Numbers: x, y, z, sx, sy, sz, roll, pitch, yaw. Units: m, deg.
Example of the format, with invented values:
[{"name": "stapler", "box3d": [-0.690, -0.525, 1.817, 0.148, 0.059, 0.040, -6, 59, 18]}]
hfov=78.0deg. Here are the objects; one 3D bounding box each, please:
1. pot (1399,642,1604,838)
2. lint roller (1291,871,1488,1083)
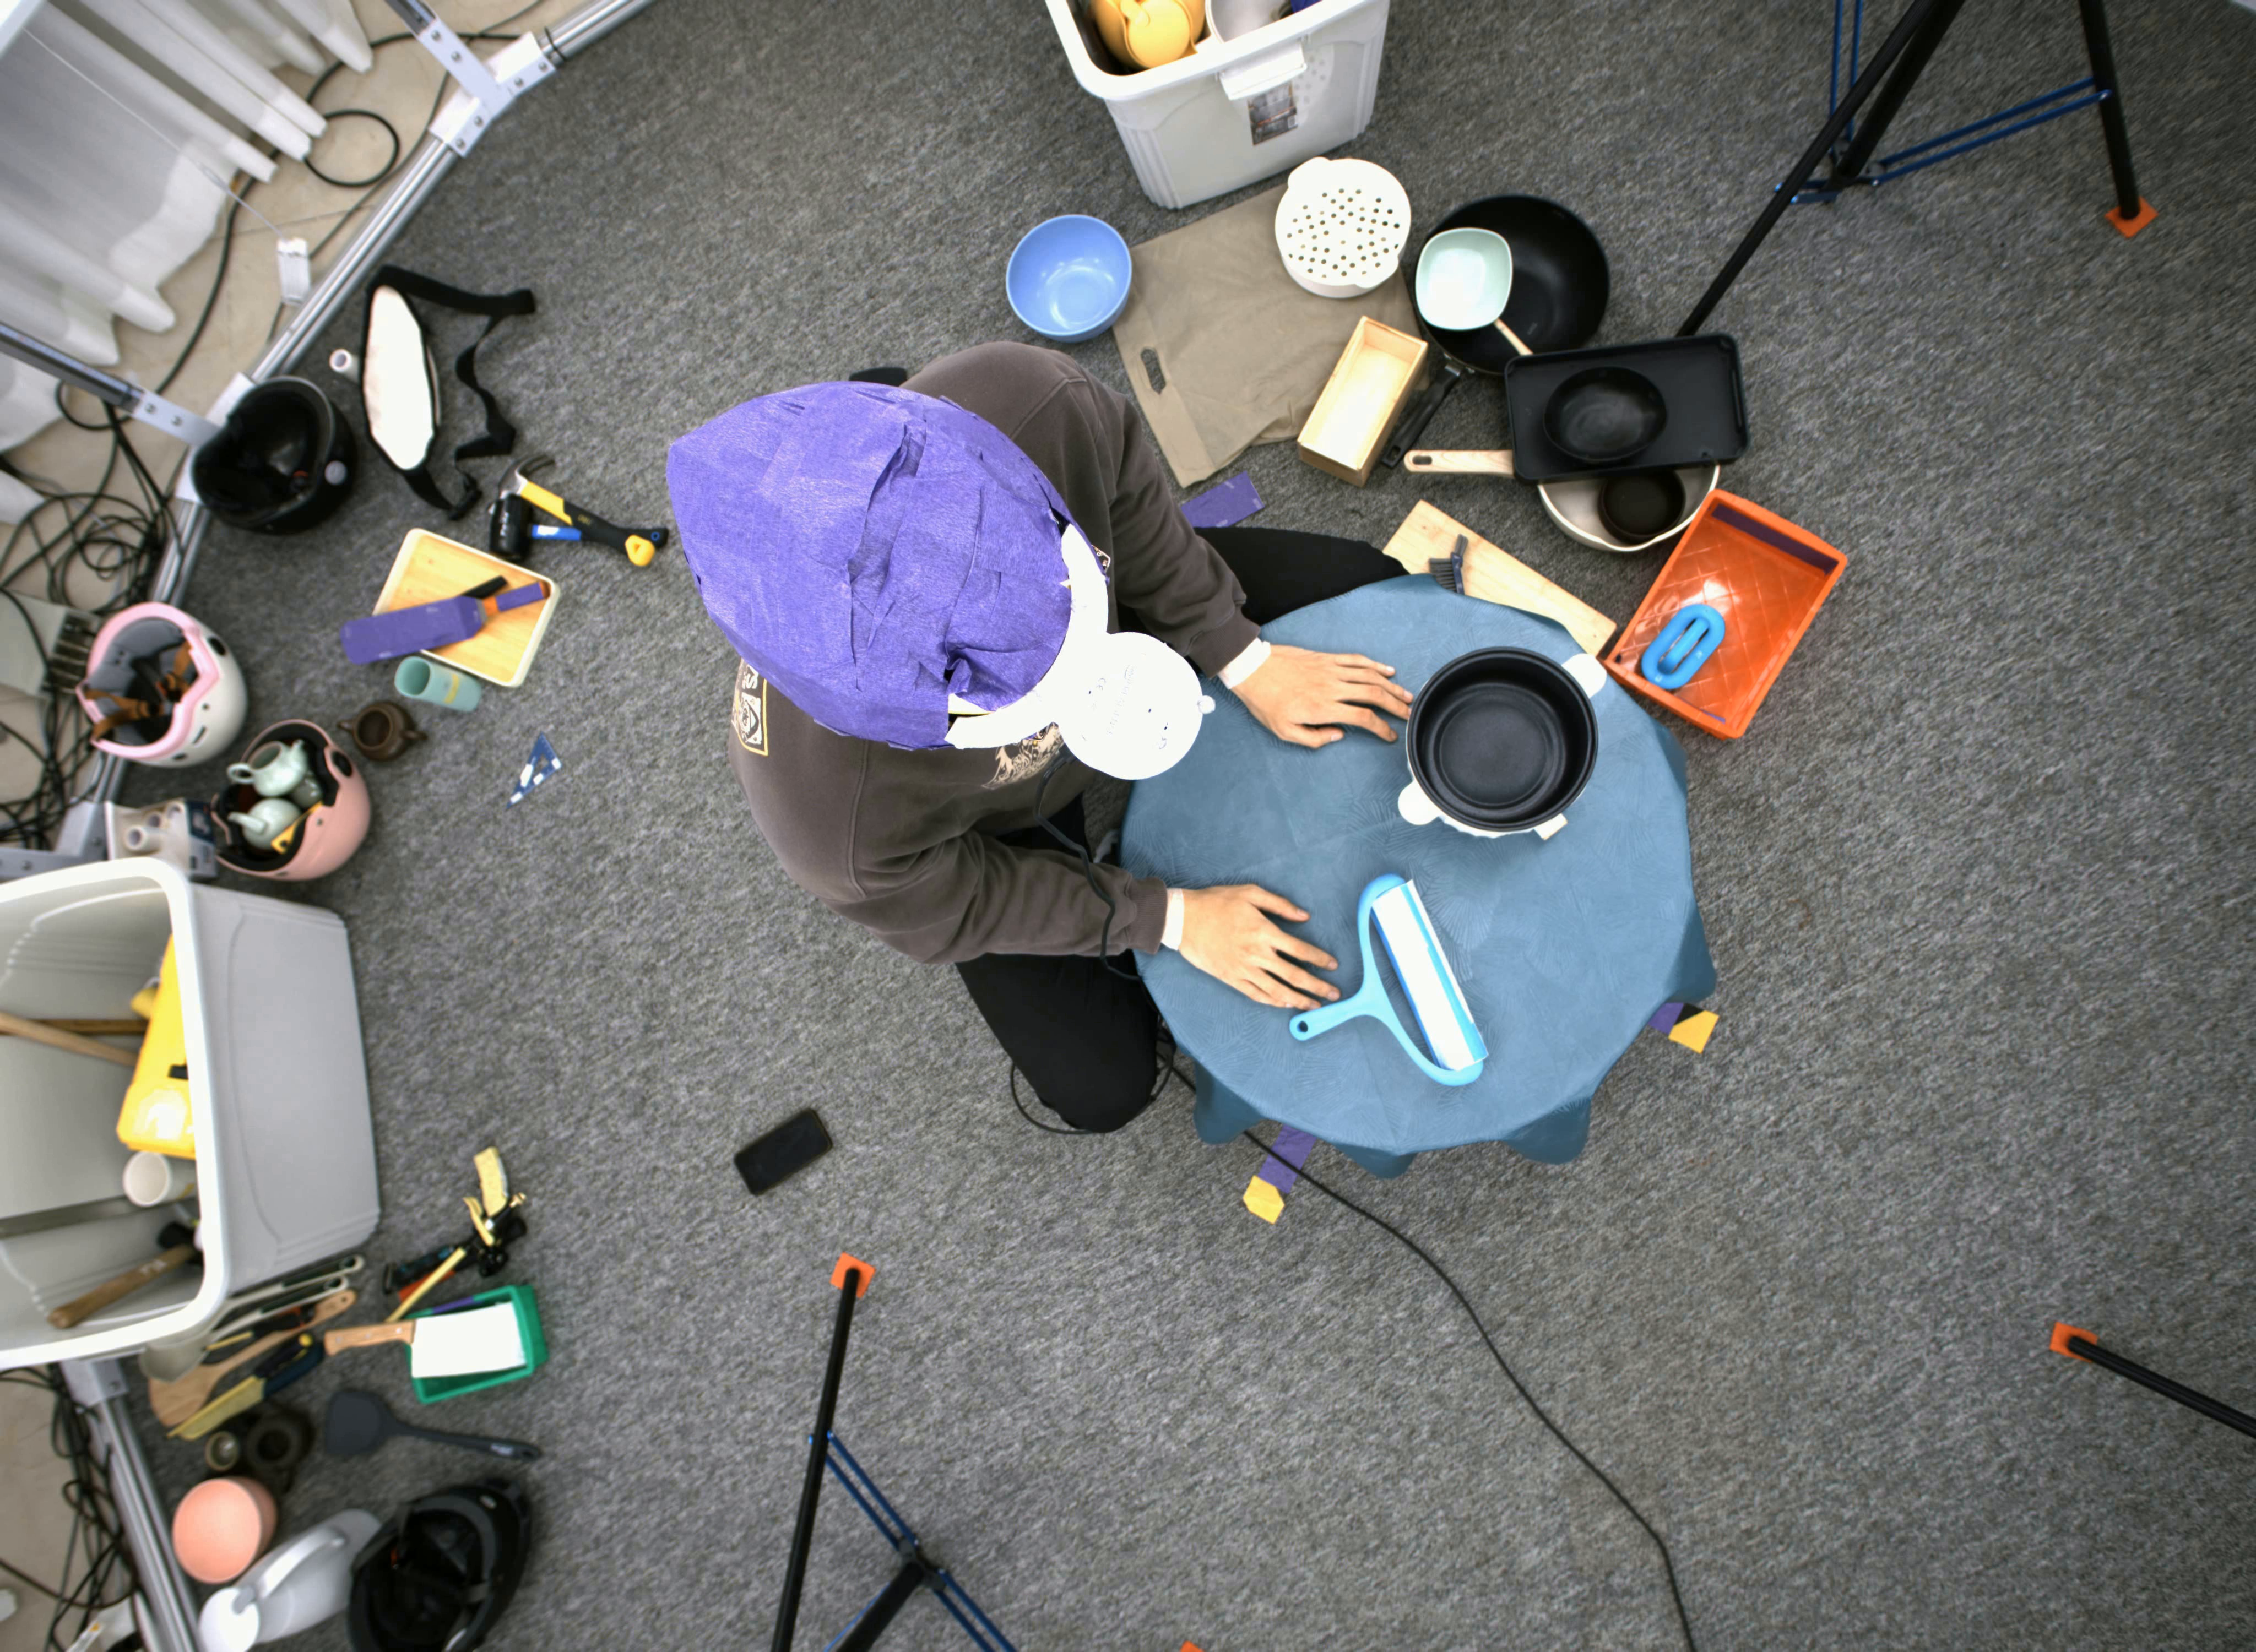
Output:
[{"name": "pot", "box3d": [0.373, -0.078, 1.375, 0.242, 0.143, 0.189, -40, 78, 7]}, {"name": "lint roller", "box3d": [0.253, 0.178, 1.426, 0.181, 0.068, 0.228, -26, 84, 7]}]
